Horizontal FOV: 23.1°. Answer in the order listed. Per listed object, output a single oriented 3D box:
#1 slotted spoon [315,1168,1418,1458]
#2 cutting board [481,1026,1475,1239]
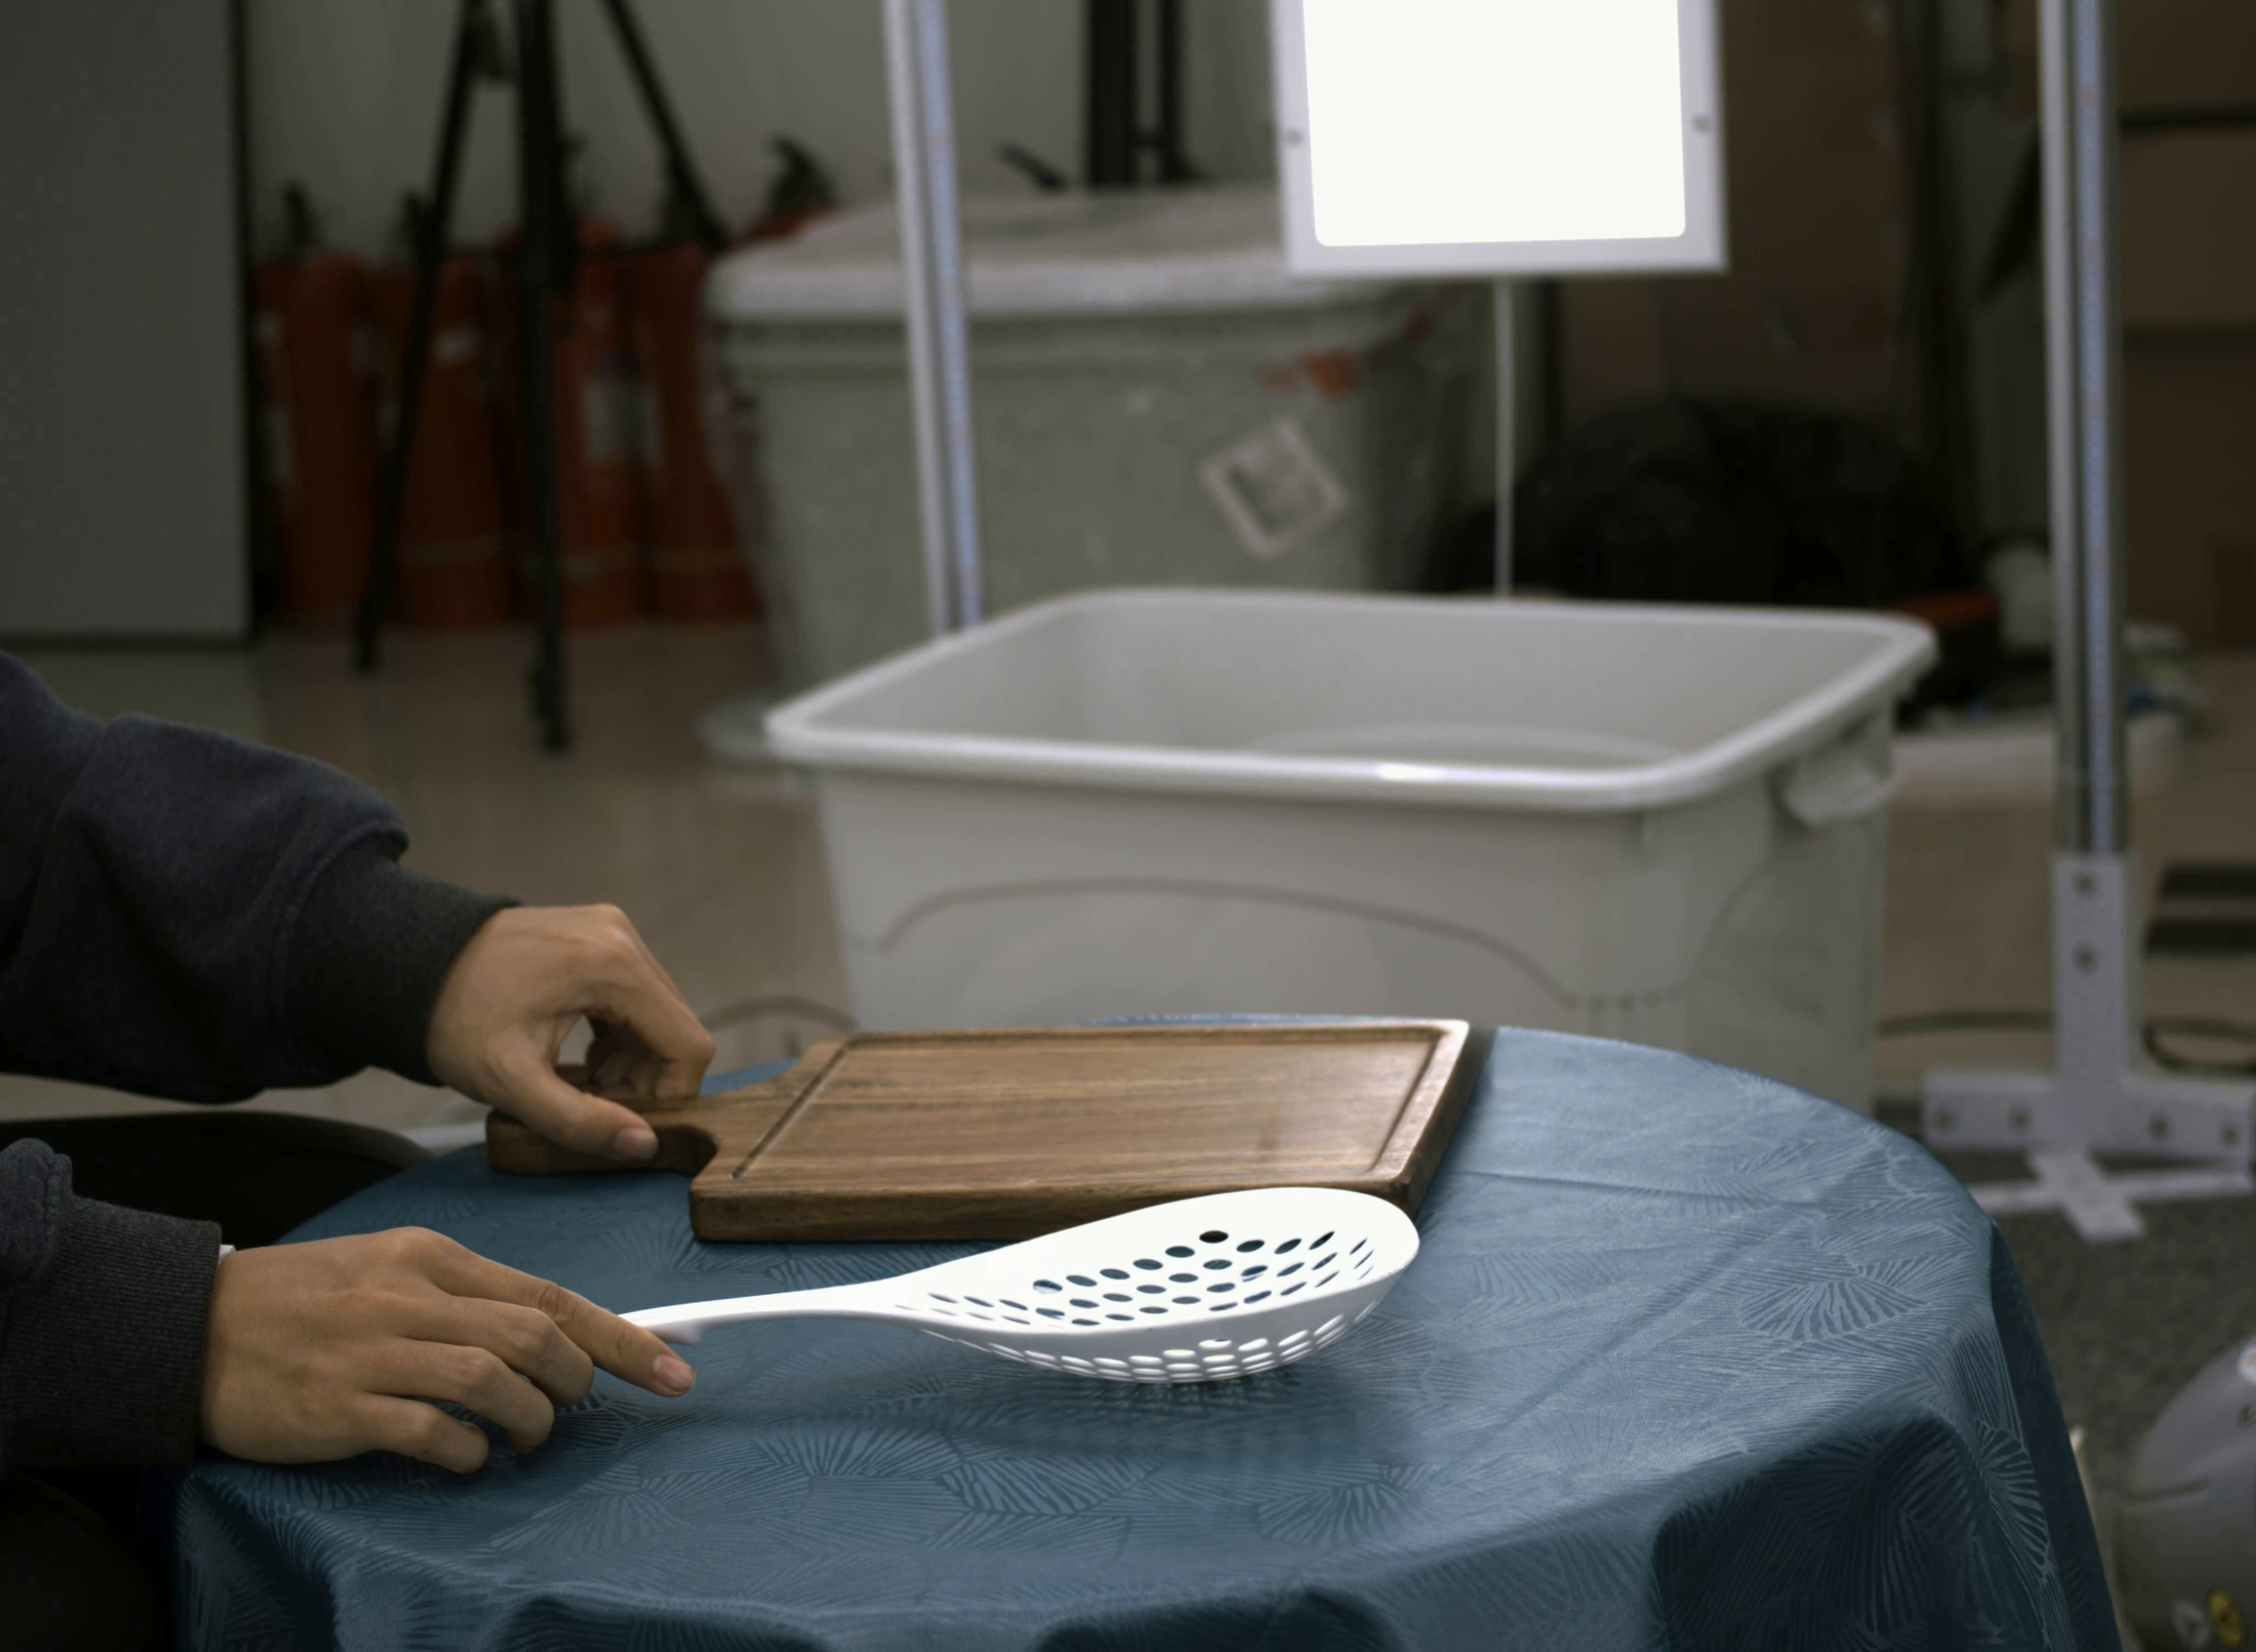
[{"bbox_3d":[-0.081,0.157,1.714,0.347,0.050,0.136,-4,13,2],"label":"slotted spoon"},{"bbox_3d":[-0.060,0.107,1.953,0.355,0.023,0.198,-1,13,14],"label":"cutting board"}]
